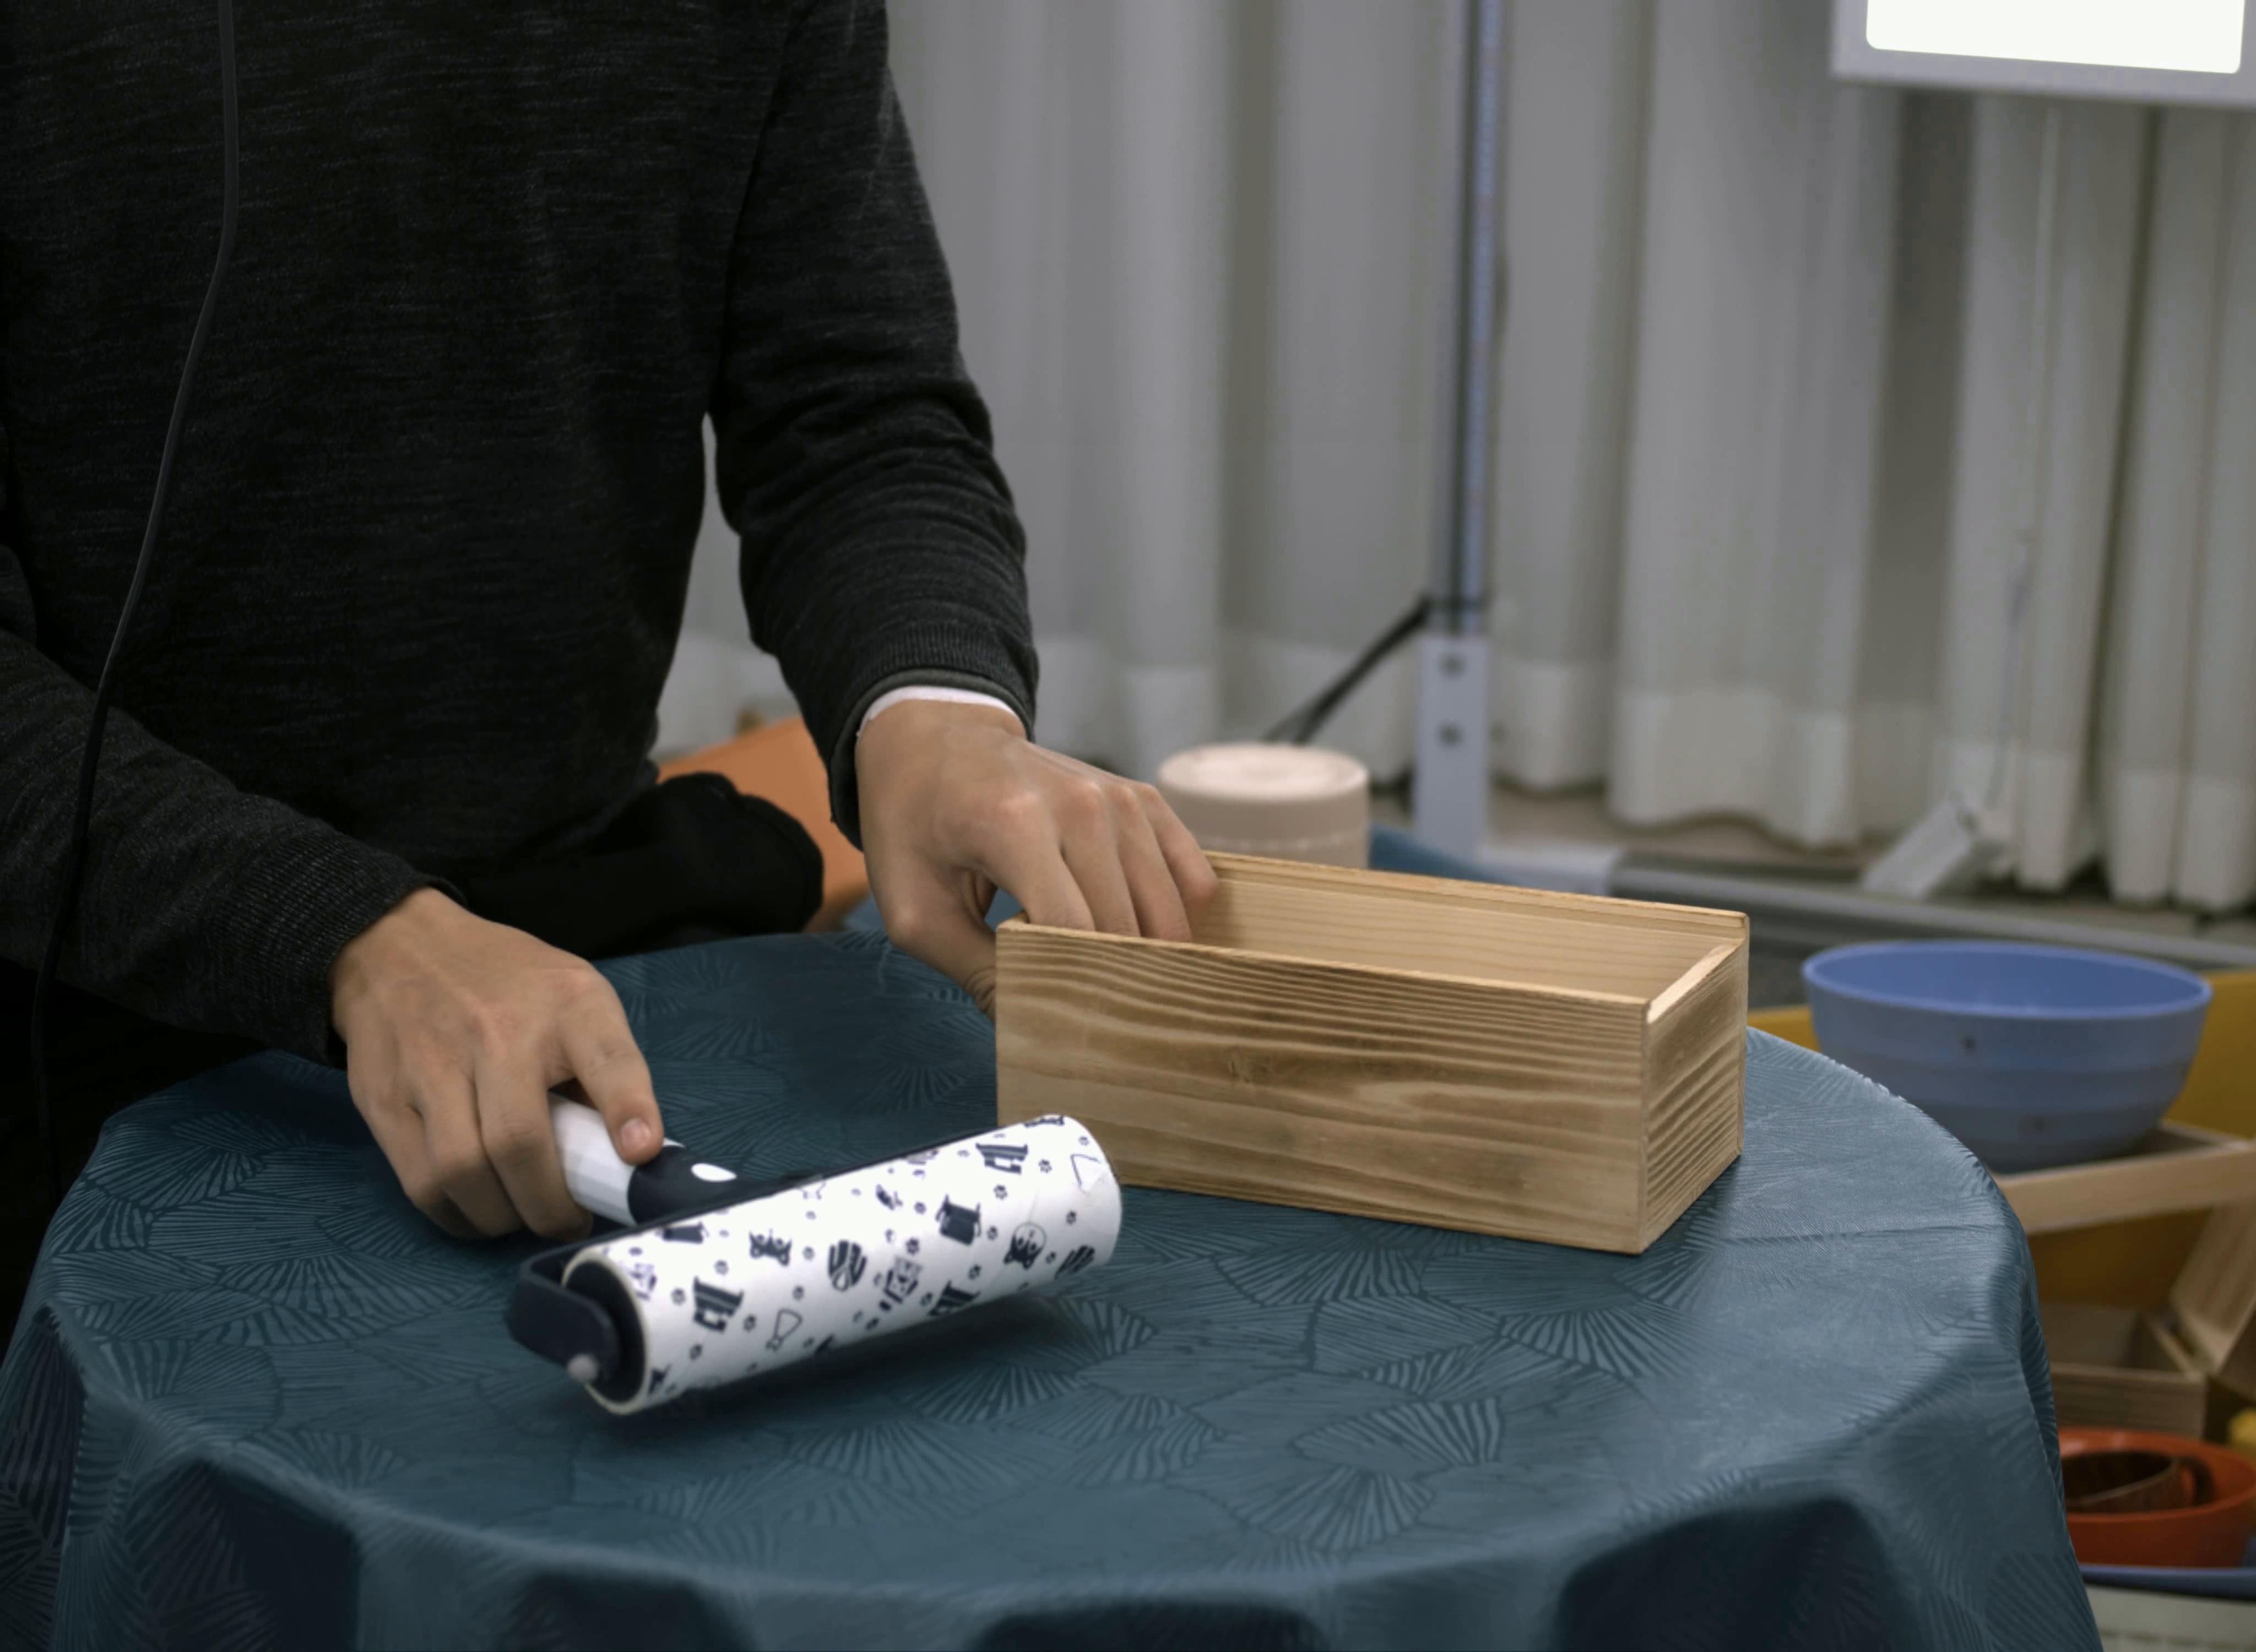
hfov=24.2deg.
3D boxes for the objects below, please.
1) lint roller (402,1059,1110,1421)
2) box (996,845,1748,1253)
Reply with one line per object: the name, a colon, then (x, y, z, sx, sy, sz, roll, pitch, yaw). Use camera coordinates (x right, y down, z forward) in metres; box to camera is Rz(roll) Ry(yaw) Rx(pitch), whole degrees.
lint roller: (-0.145, 0.097, 1.536, 0.177, 0.051, 0.244, -21, 24, -35)
box: (0.076, 0.067, 1.638, 0.209, 0.081, 0.107, 6, 16, 22)
